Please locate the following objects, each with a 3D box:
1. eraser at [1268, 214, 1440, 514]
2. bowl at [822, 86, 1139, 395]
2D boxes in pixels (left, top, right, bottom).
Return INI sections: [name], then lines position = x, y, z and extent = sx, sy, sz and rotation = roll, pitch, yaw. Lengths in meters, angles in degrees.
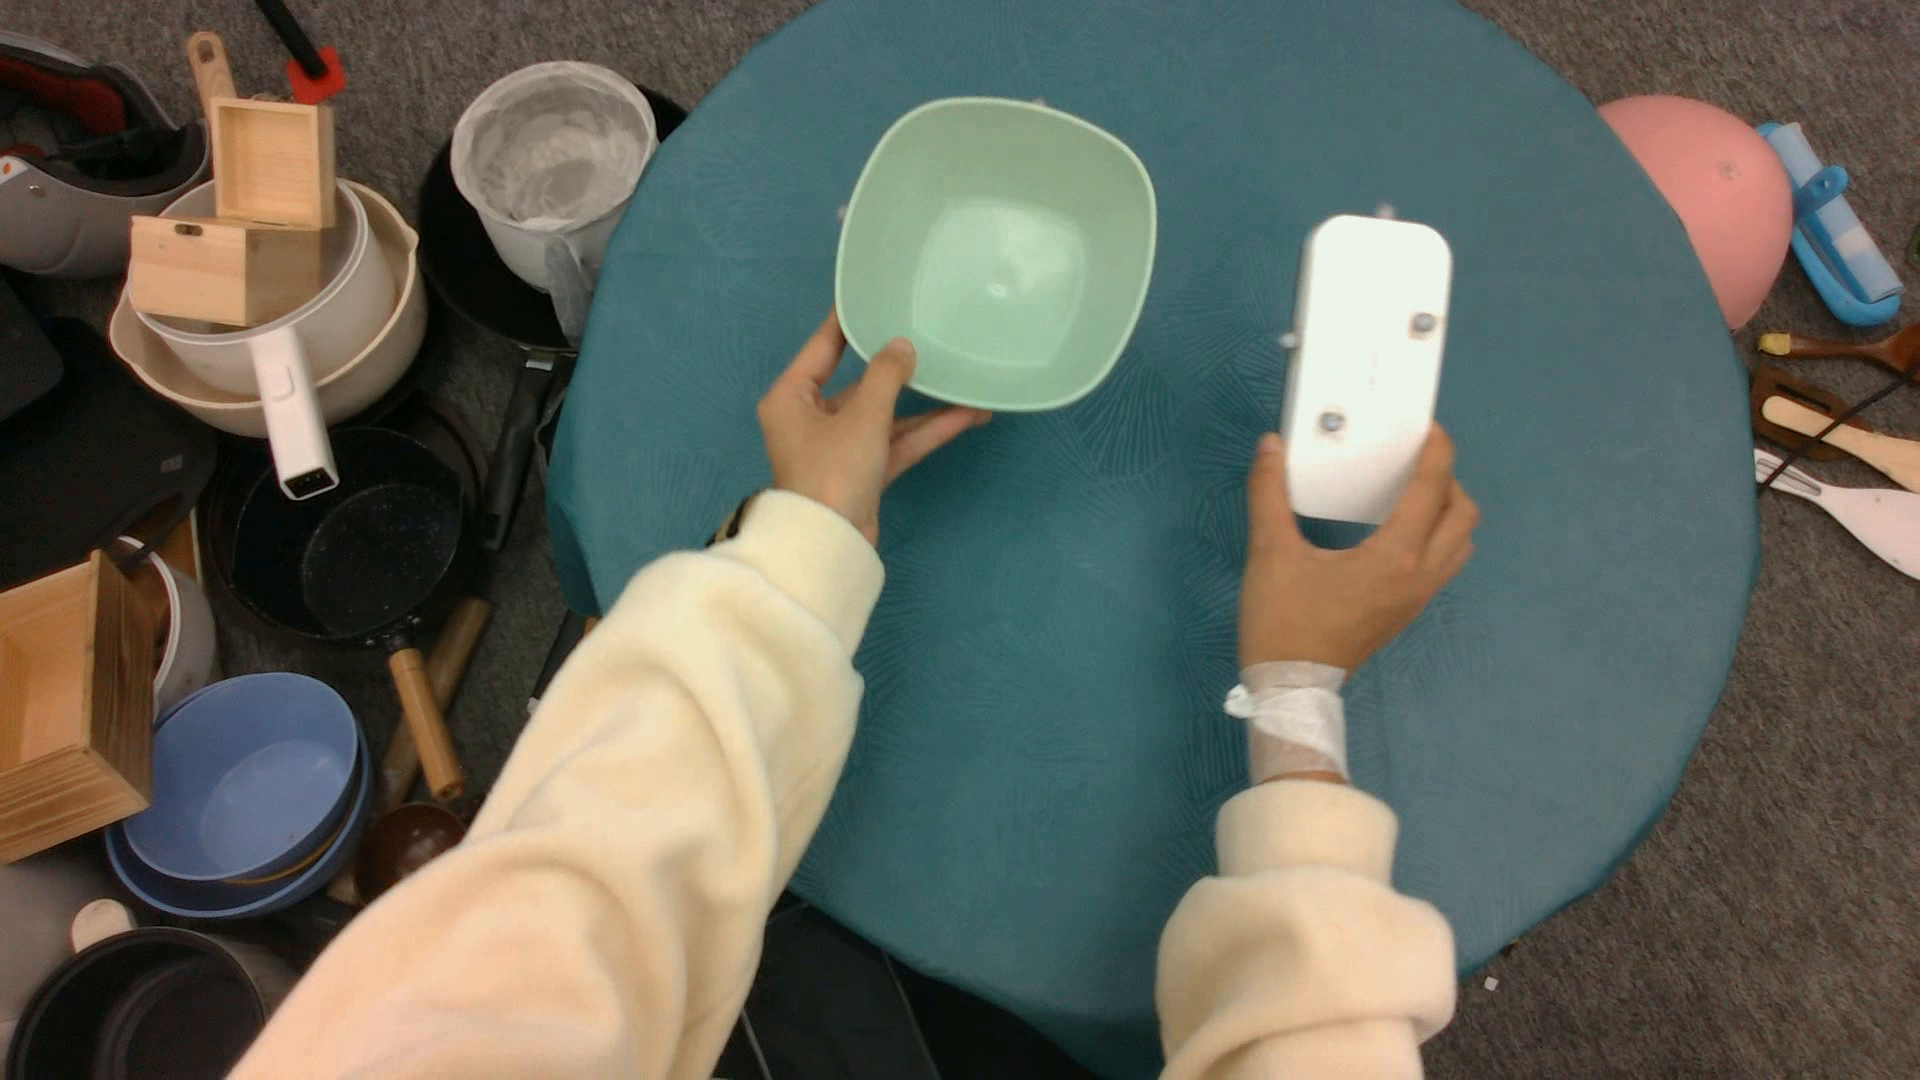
[eraser]
position = 0.176, -0.079, 0.622
extent = 0.063, 0.034, 0.131
rotation = 7, 93, -5
[bowl]
position = 0.011, -0.132, 0.639
extent = 0.151, 0.058, 0.151
rotation = 0, 85, 5
